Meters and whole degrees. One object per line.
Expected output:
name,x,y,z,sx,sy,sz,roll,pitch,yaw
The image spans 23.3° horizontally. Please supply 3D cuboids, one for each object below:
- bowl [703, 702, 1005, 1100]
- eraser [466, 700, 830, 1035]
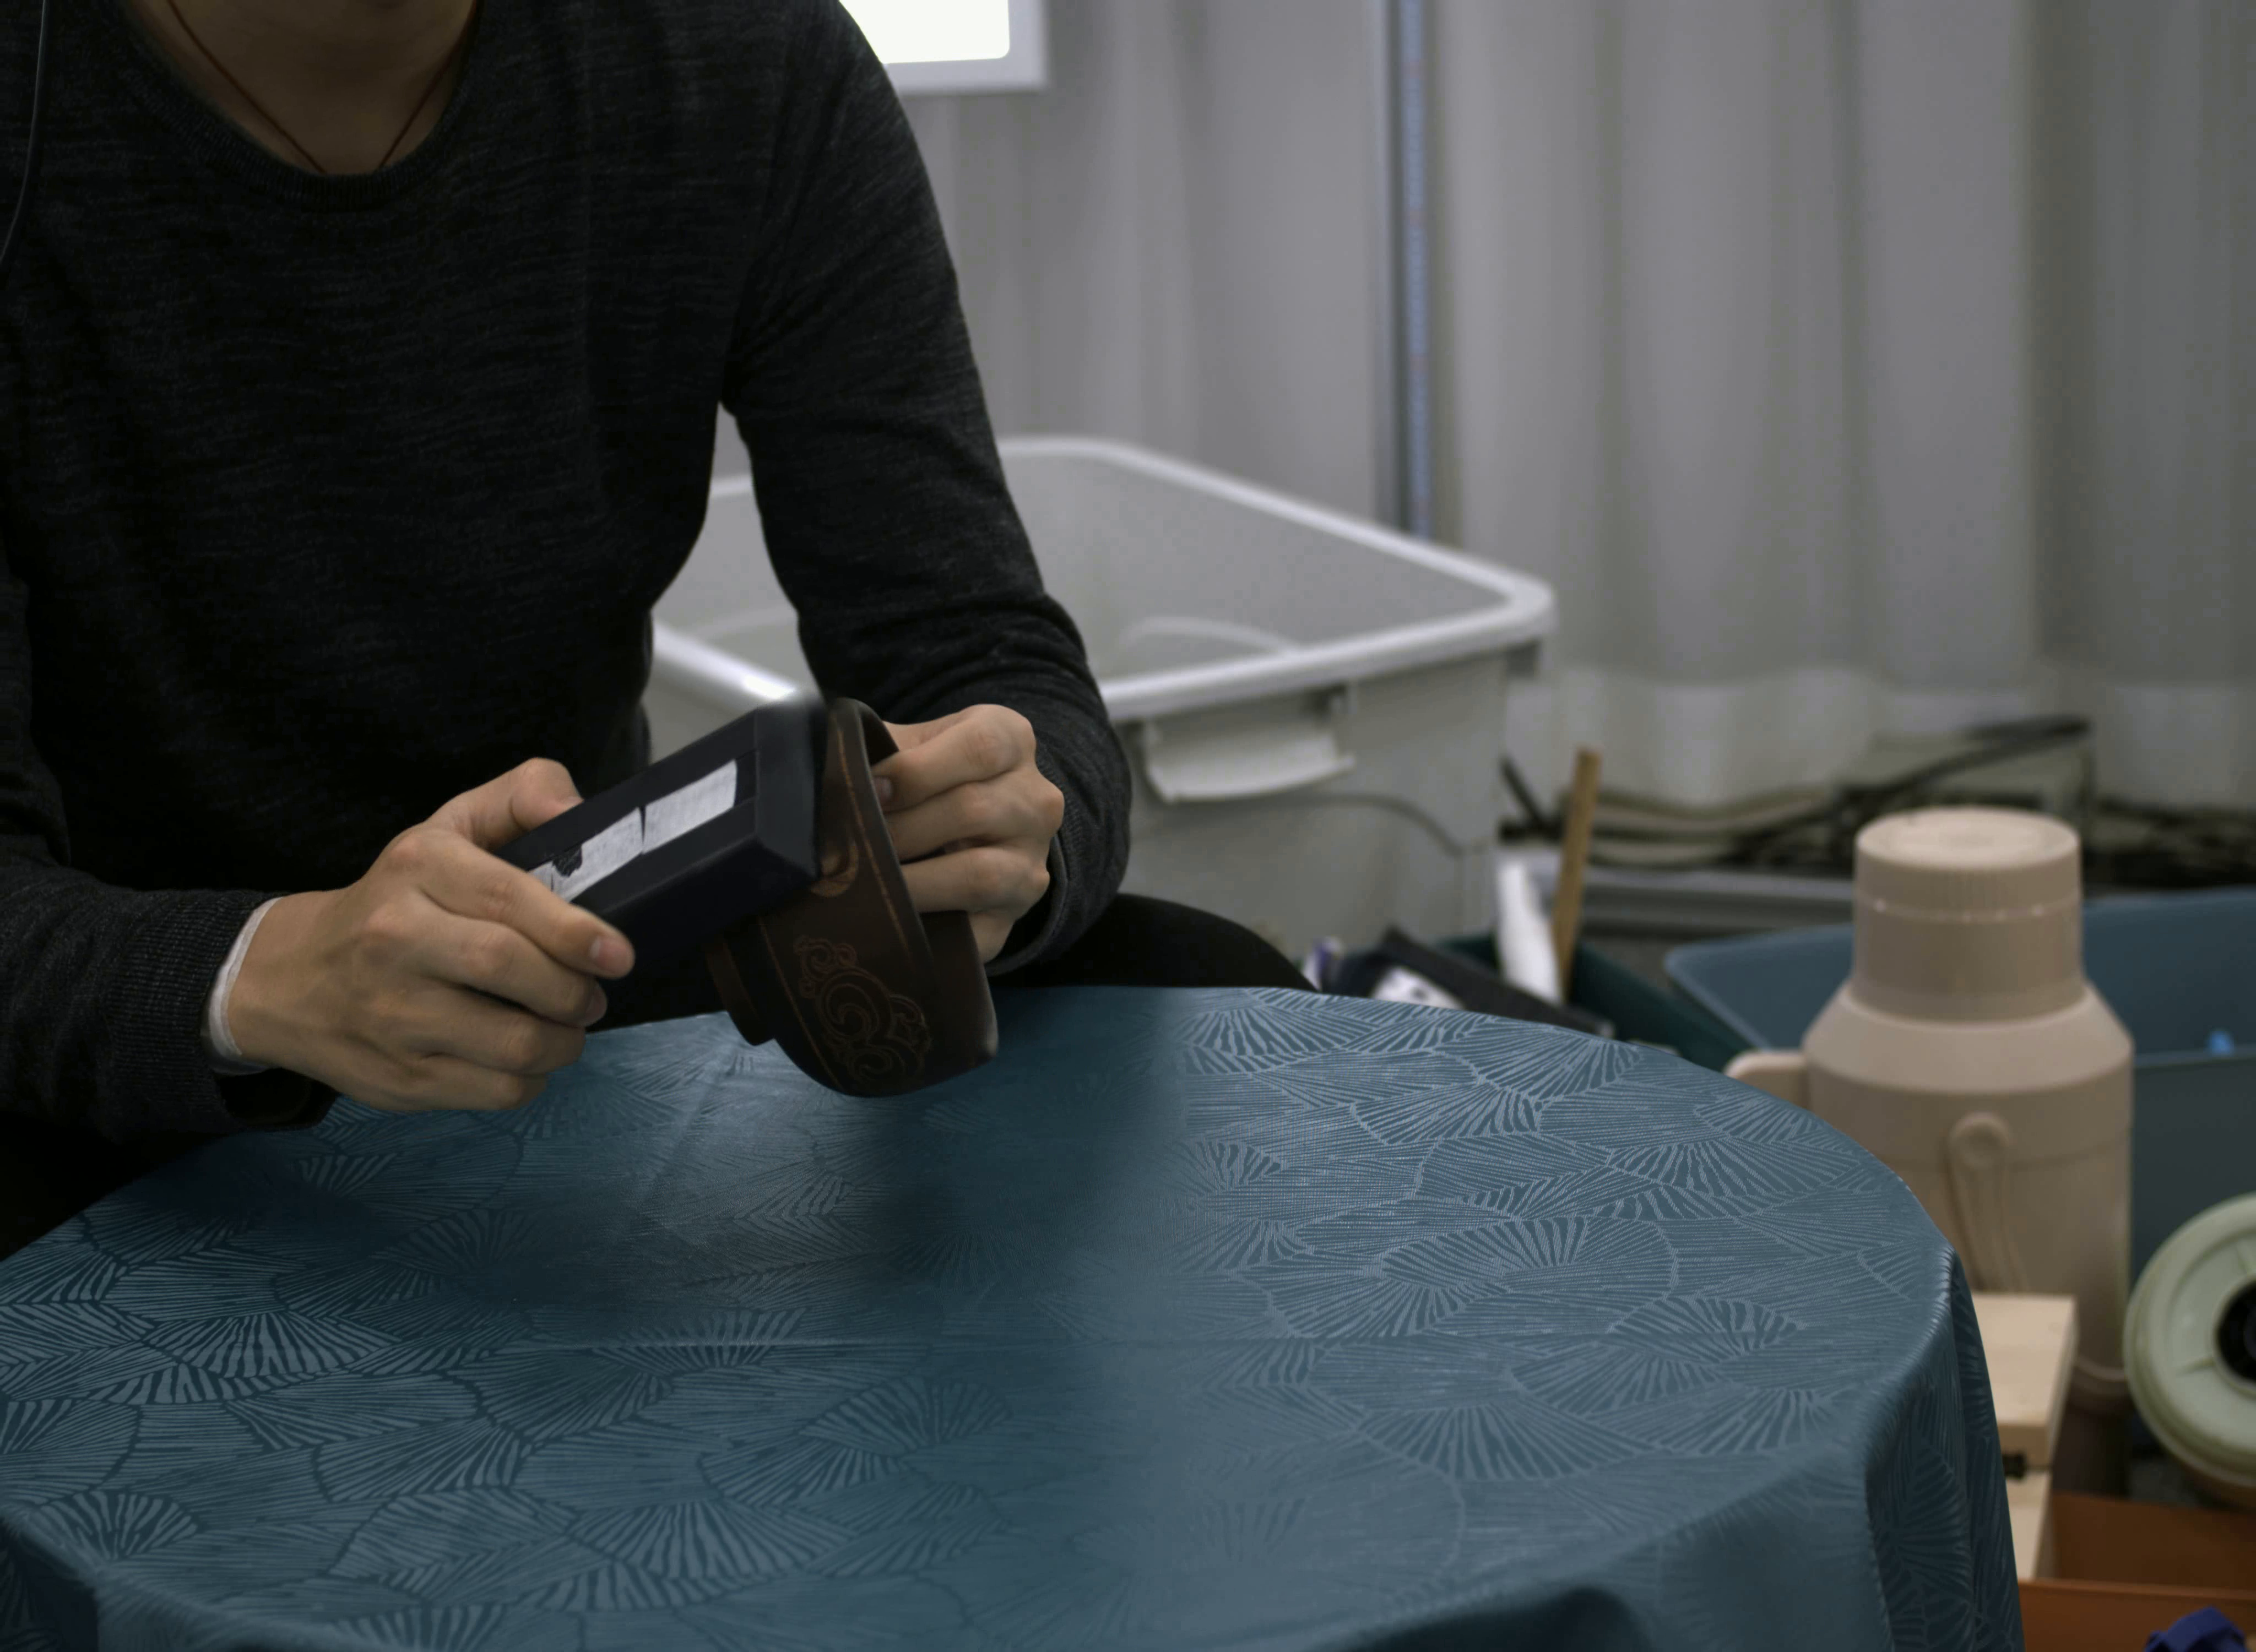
bowl,-0.089,0.028,1.648,0.069,0.117,0.119,-21,14,4
eraser,-0.141,0.012,1.607,0.125,0.030,0.054,-29,44,29
